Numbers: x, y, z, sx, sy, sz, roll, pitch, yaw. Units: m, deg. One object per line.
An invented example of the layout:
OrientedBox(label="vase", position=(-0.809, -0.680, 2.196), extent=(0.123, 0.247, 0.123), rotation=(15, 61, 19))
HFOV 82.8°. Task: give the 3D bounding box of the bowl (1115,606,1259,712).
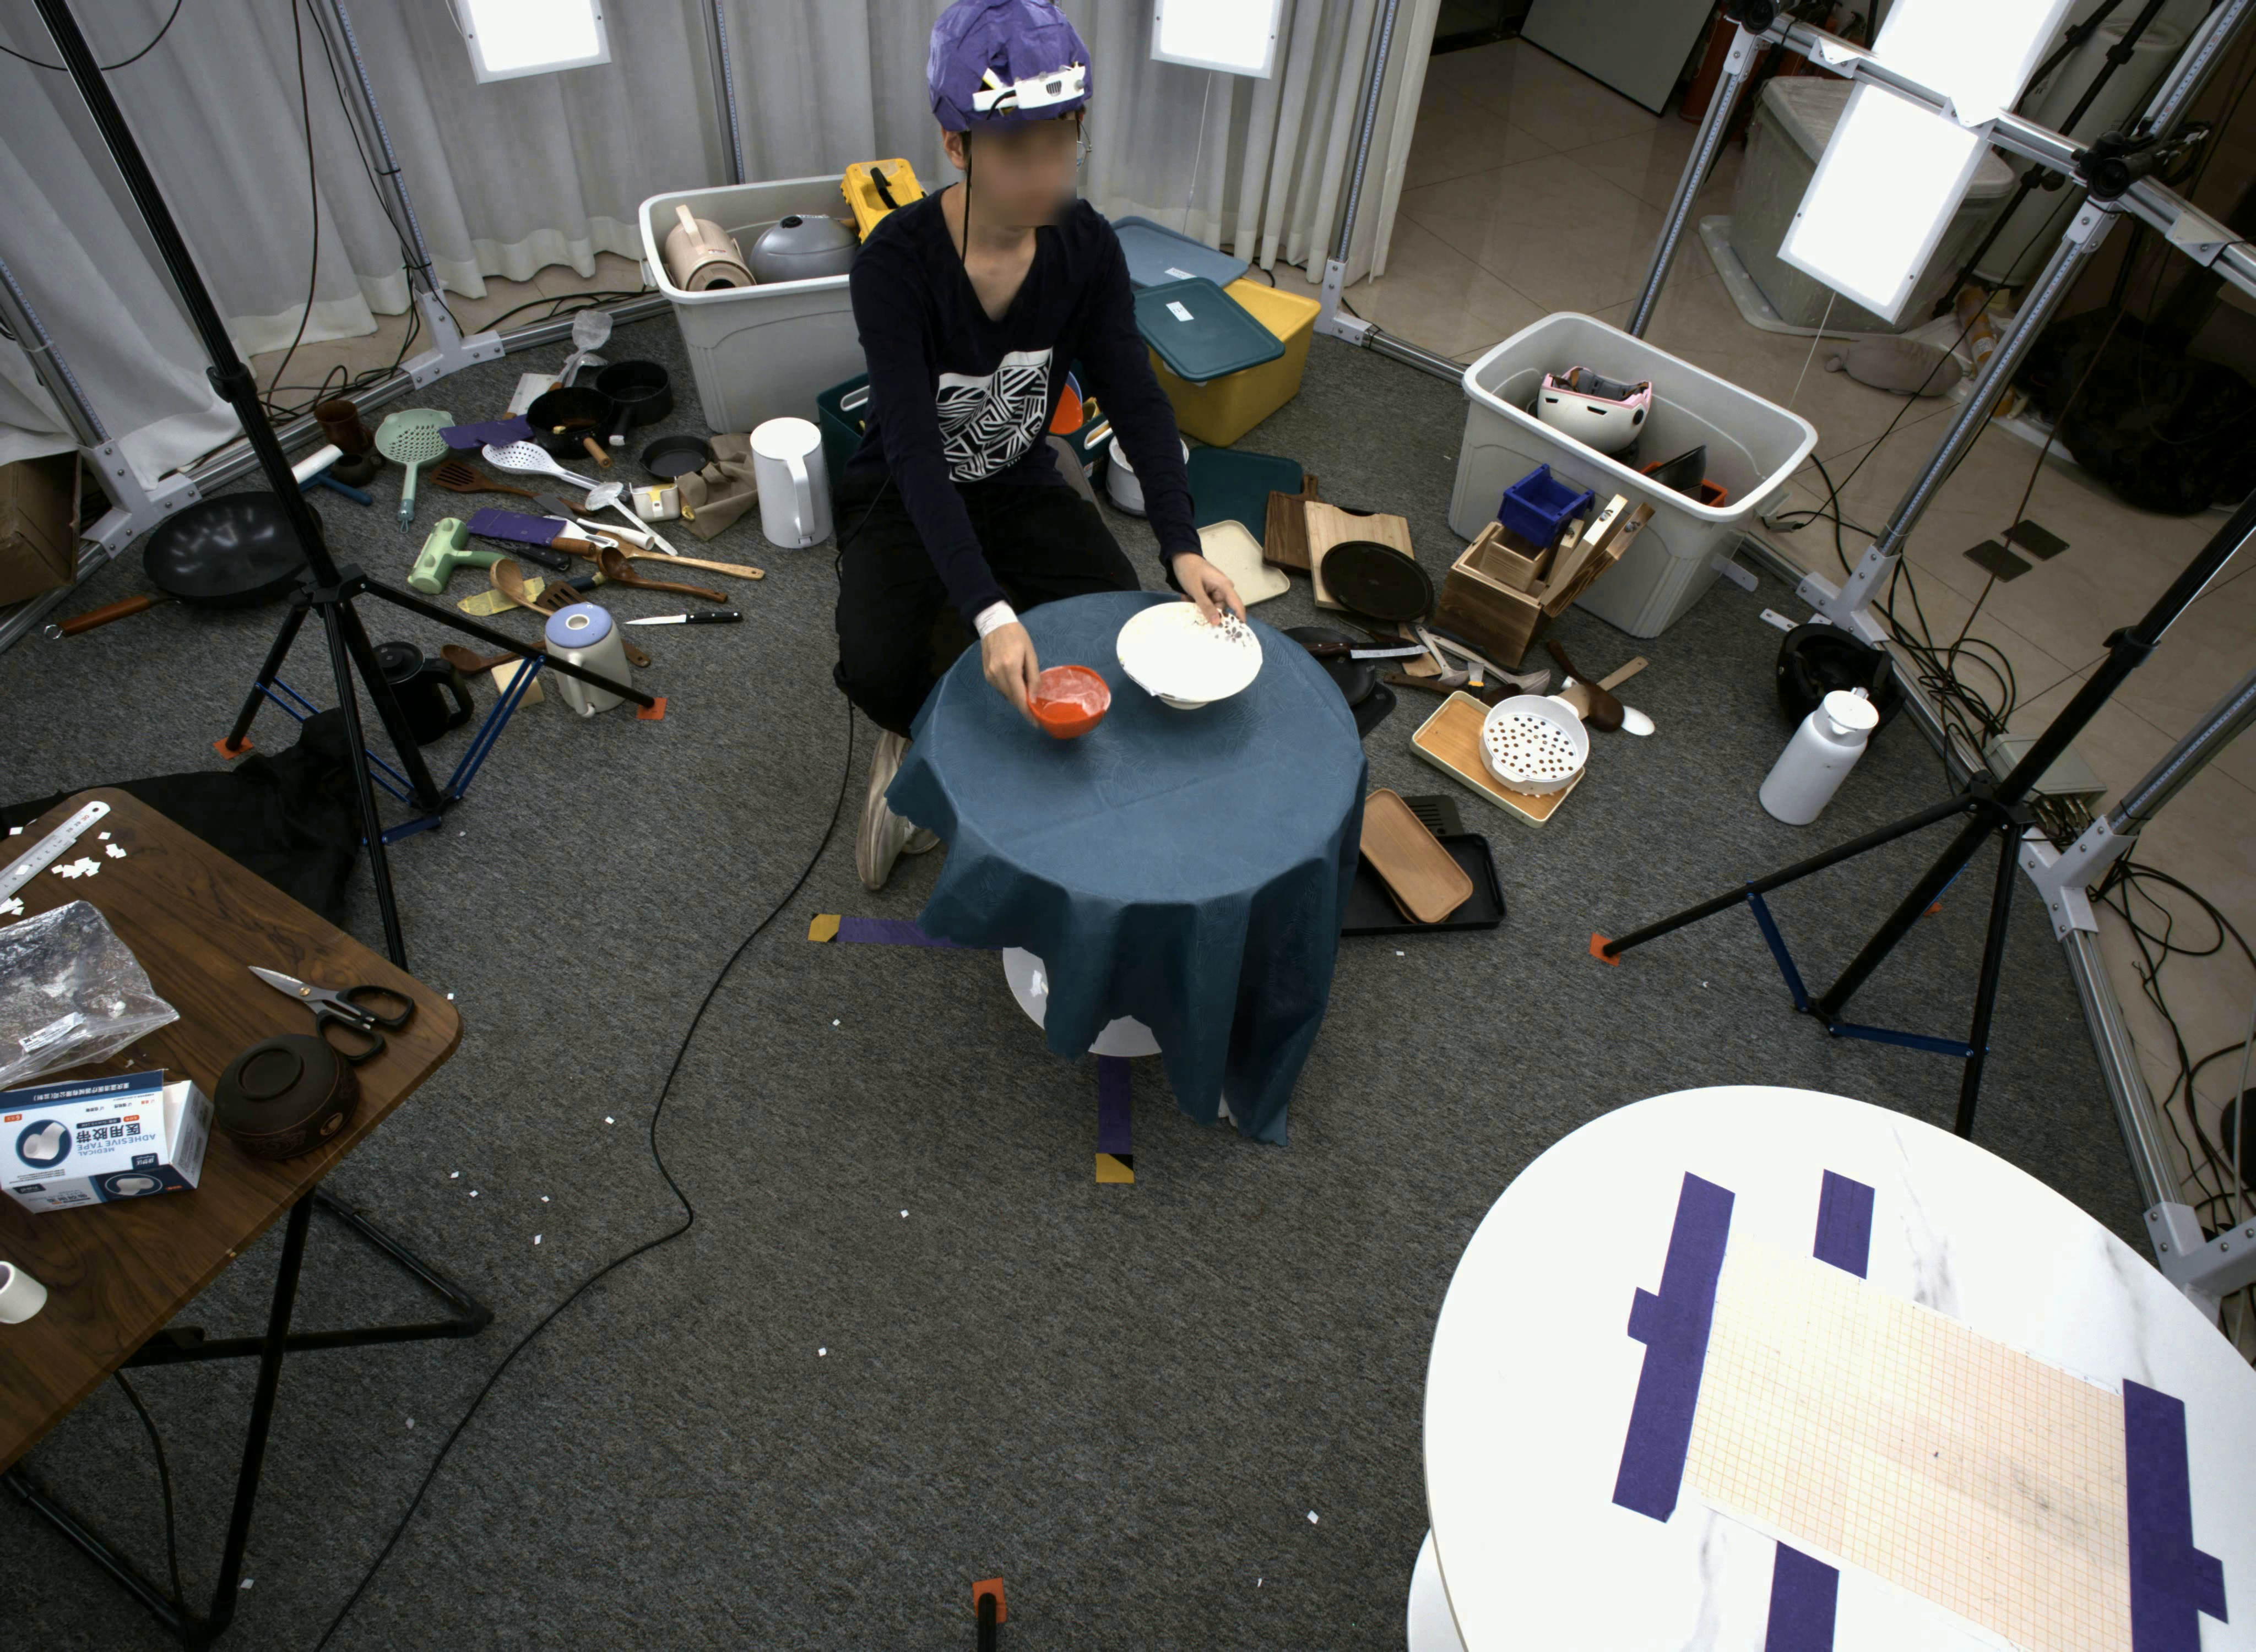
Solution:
OrientedBox(label="bowl", position=(0.080, -0.219, 1.815), extent=(0.204, 0.076, 0.209), rotation=(3, 46, -3))

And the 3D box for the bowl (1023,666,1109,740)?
OrientedBox(label="bowl", position=(-0.083, -0.160, 1.731), extent=(0.119, 0.050, 0.122), rotation=(0, 48, 0))
